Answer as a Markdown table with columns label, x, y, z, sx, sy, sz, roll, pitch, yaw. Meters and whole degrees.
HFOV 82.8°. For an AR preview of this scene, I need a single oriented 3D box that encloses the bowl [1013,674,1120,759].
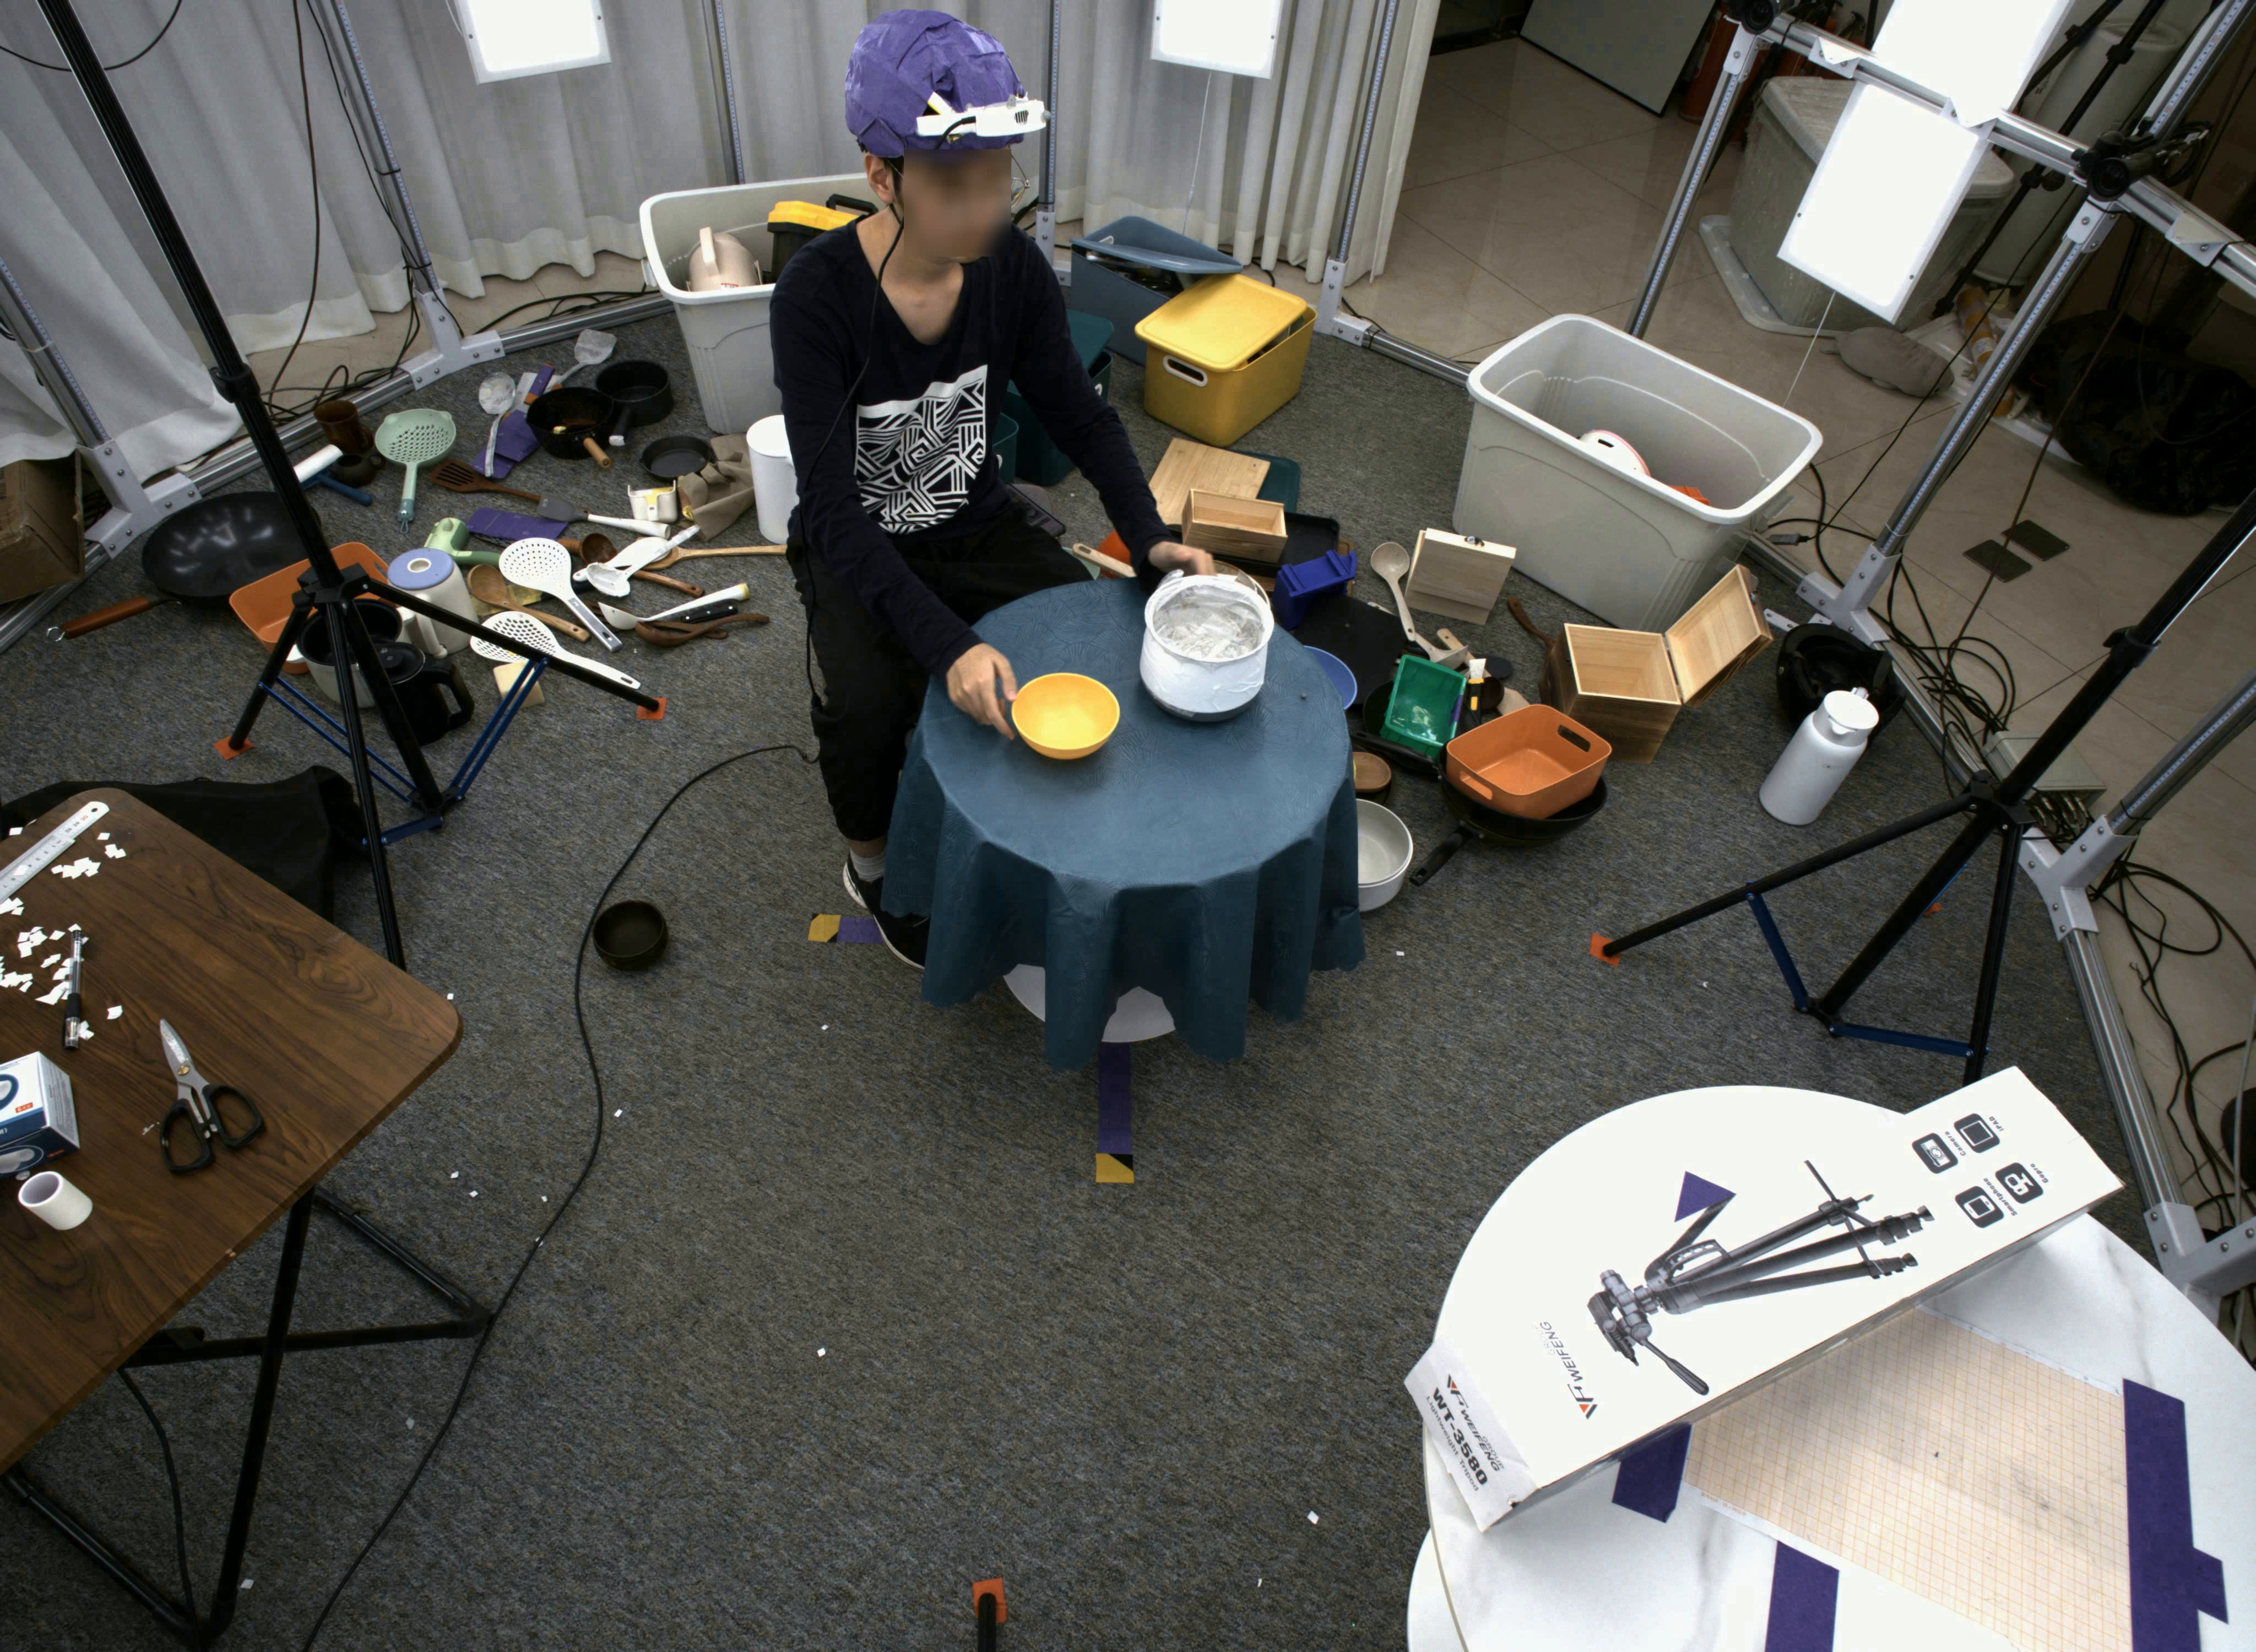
| label | x | y | z | sx | sy | sz | roll | pitch | yaw |
| --- | --- | --- | --- | --- | --- | --- | --- | --- | --- |
| bowl | -0.083 | -0.137 | 1.741 | 0.145 | 0.058 | 0.149 | 0 | 48 | -1 |

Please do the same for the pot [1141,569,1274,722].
| label | x | y | z | sx | sy | sz | roll | pitch | yaw |
| --- | --- | --- | --- | --- | --- | --- | --- | --- | --- |
| pot | 0.096 | -0.264 | 1.816 | 0.179 | 0.133 | 0.239 | -17 | 51 | -18 |
